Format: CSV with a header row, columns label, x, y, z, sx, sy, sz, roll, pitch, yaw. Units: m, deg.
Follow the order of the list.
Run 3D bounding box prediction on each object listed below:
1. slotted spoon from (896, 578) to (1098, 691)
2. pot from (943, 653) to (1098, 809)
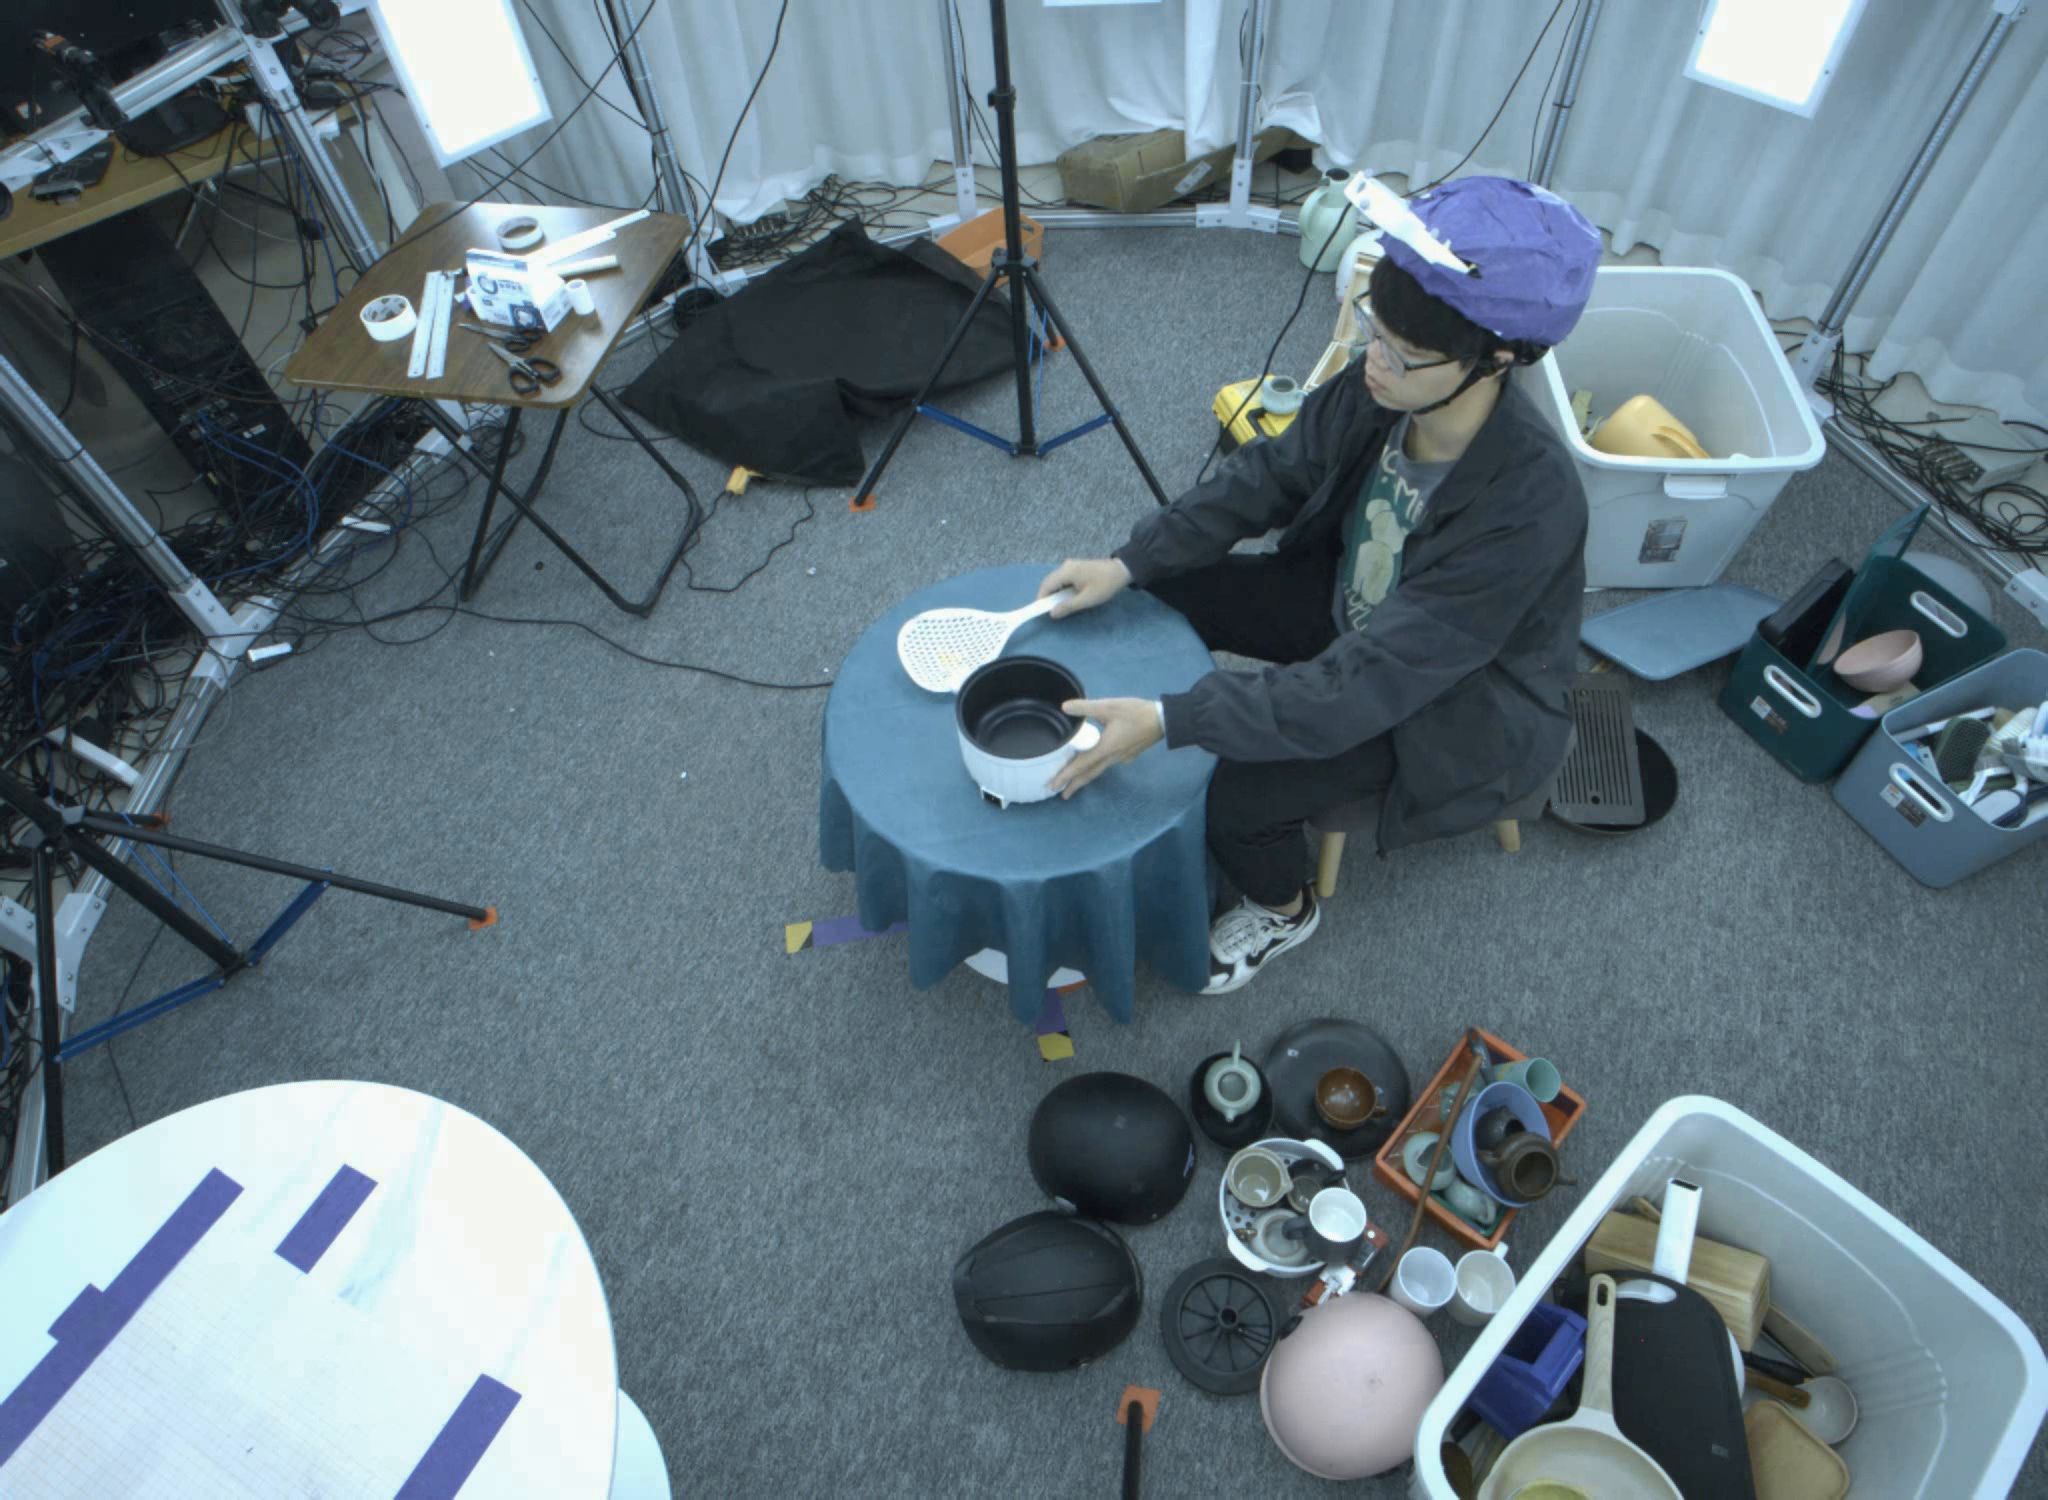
label,x,y,z,sx,sy,sz,roll,pitch,yaw
slotted spoon,-0.030,-0.194,1.887,0.350,0.050,0.135,-27,74,-15
pot,0.000,-0.027,1.713,0.237,0.144,0.191,26,63,18
